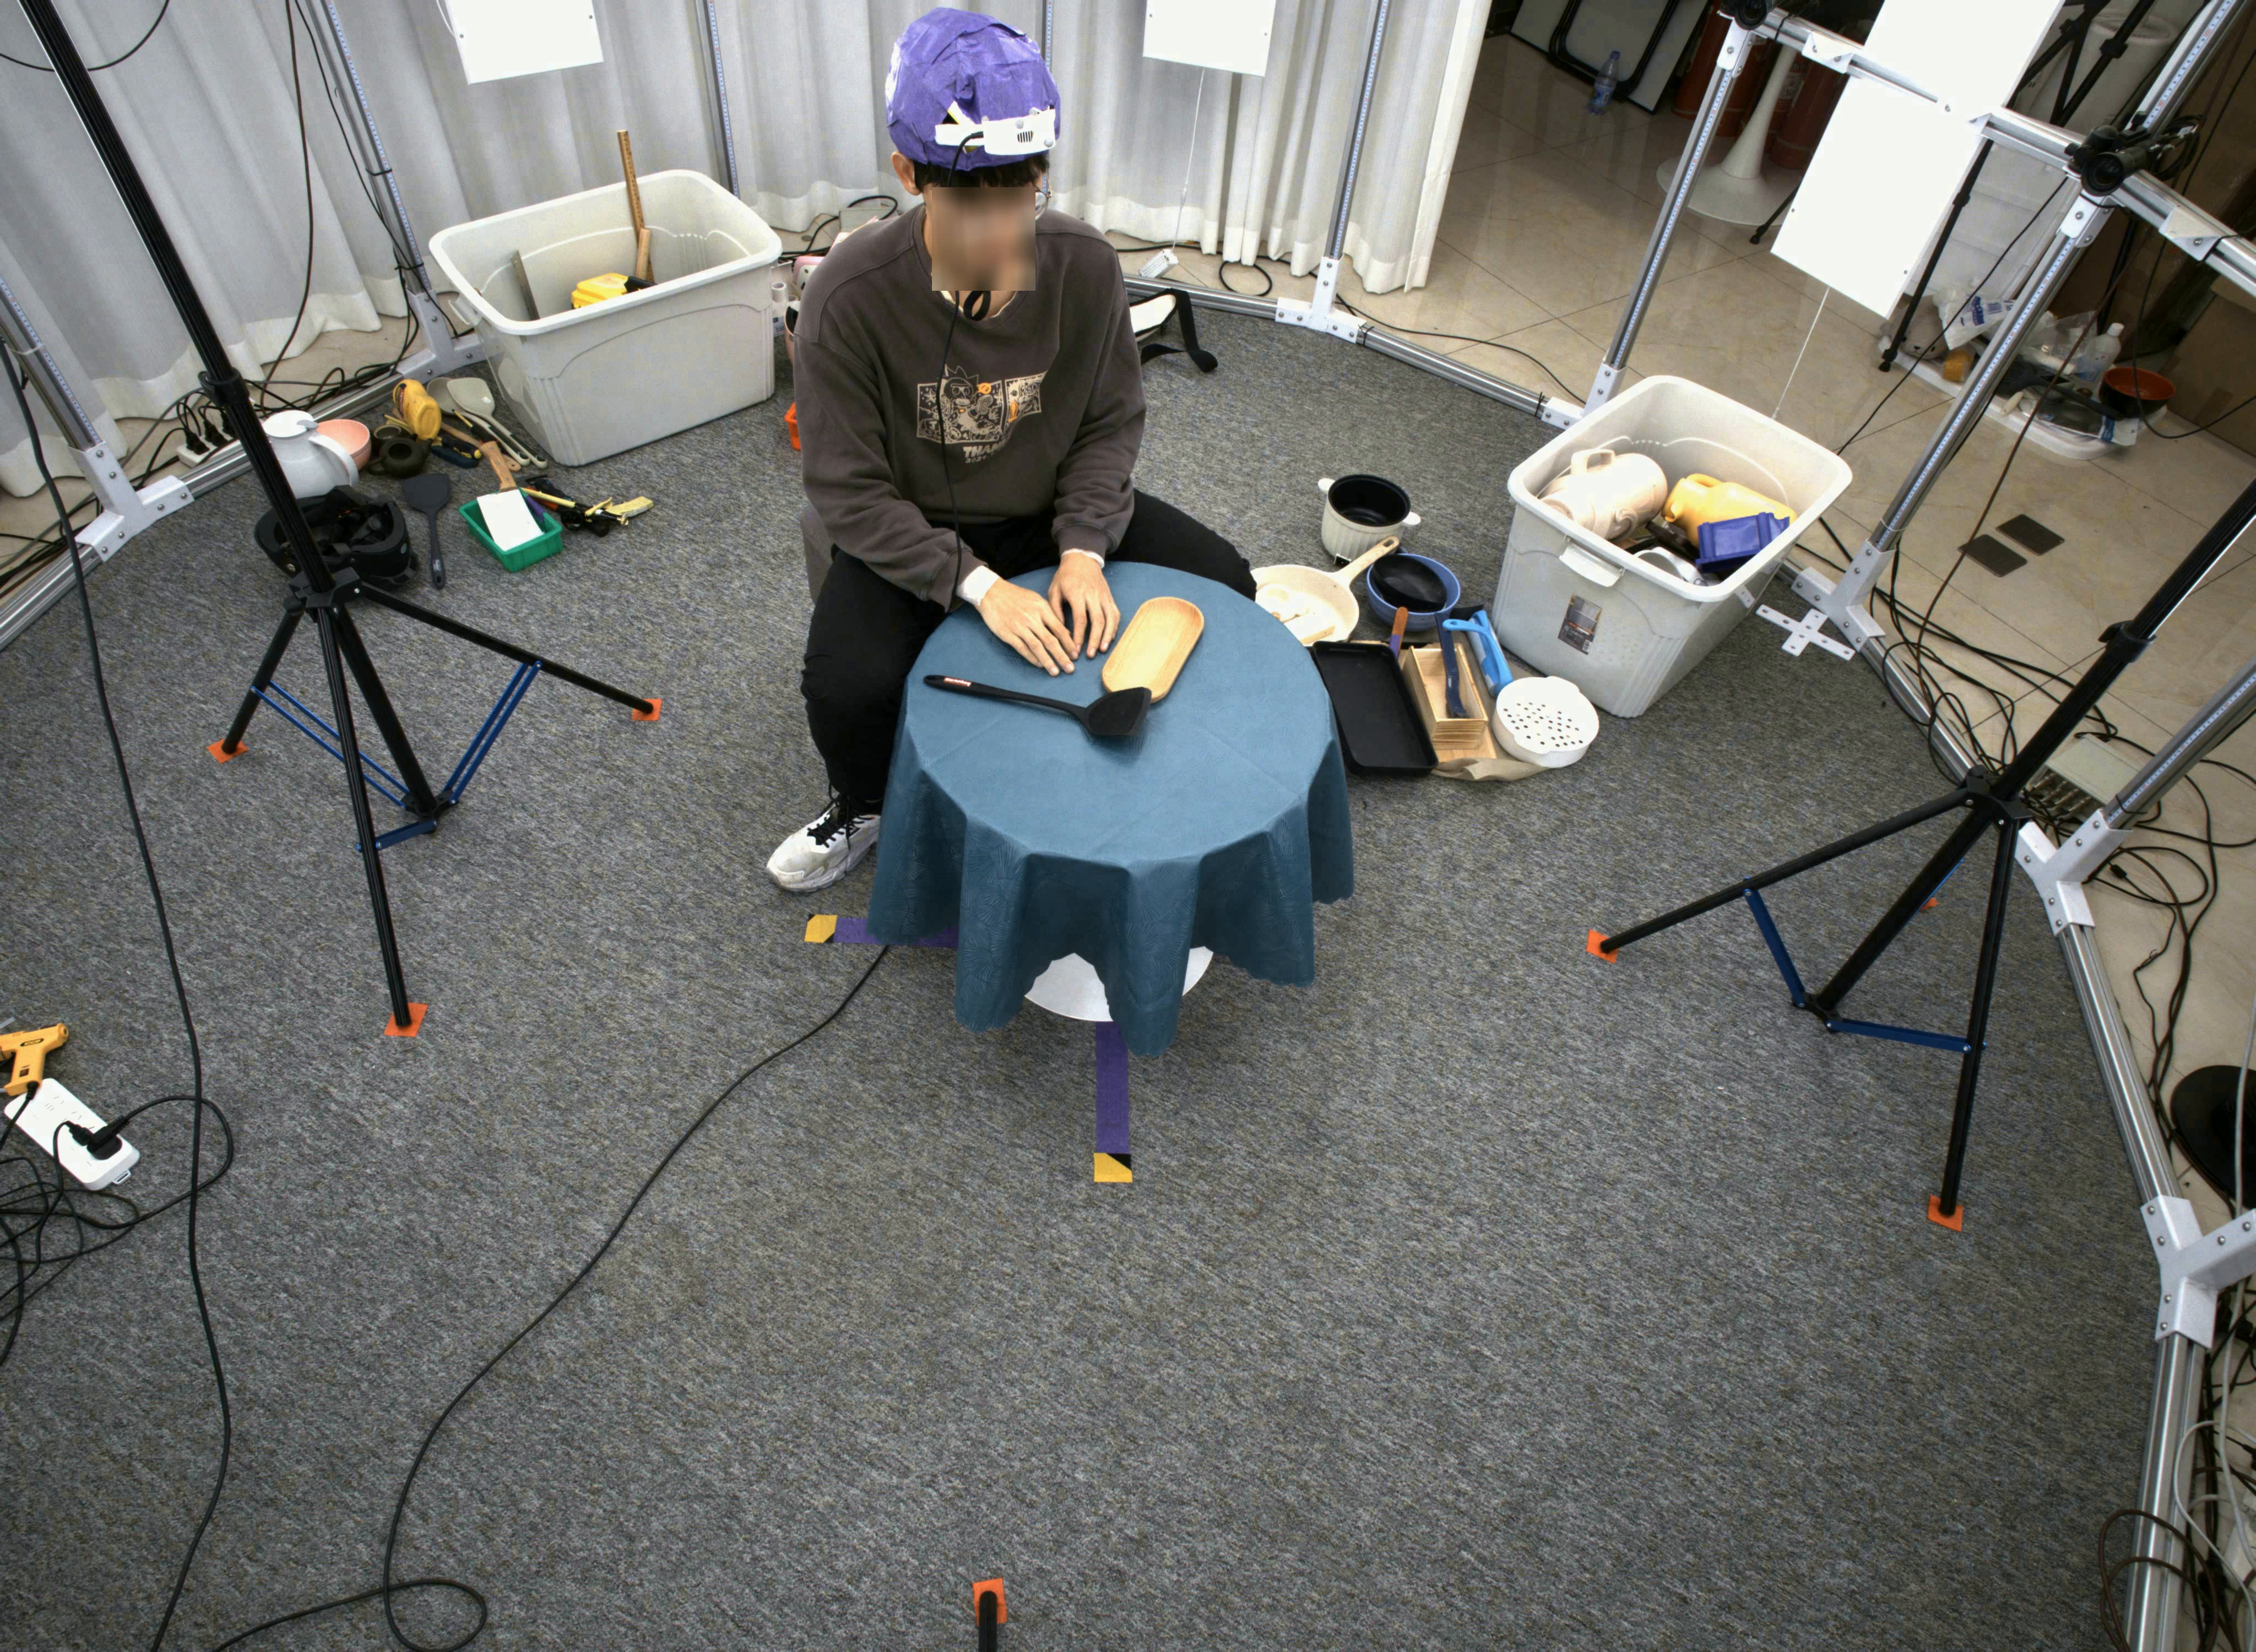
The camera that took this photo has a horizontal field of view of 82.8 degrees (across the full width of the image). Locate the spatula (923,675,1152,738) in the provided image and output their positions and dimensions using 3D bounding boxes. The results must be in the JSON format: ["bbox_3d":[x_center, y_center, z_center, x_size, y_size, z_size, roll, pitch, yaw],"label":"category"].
[{"bbox_3d":[-0.131,-0.180,1.791,0.327,0.039,0.102,14,48,8],"label":"spatula"}]

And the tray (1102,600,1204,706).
[{"bbox_3d":[0.038,-0.255,1.880,0.102,0.020,0.235,18,51,13],"label":"tray"}]
